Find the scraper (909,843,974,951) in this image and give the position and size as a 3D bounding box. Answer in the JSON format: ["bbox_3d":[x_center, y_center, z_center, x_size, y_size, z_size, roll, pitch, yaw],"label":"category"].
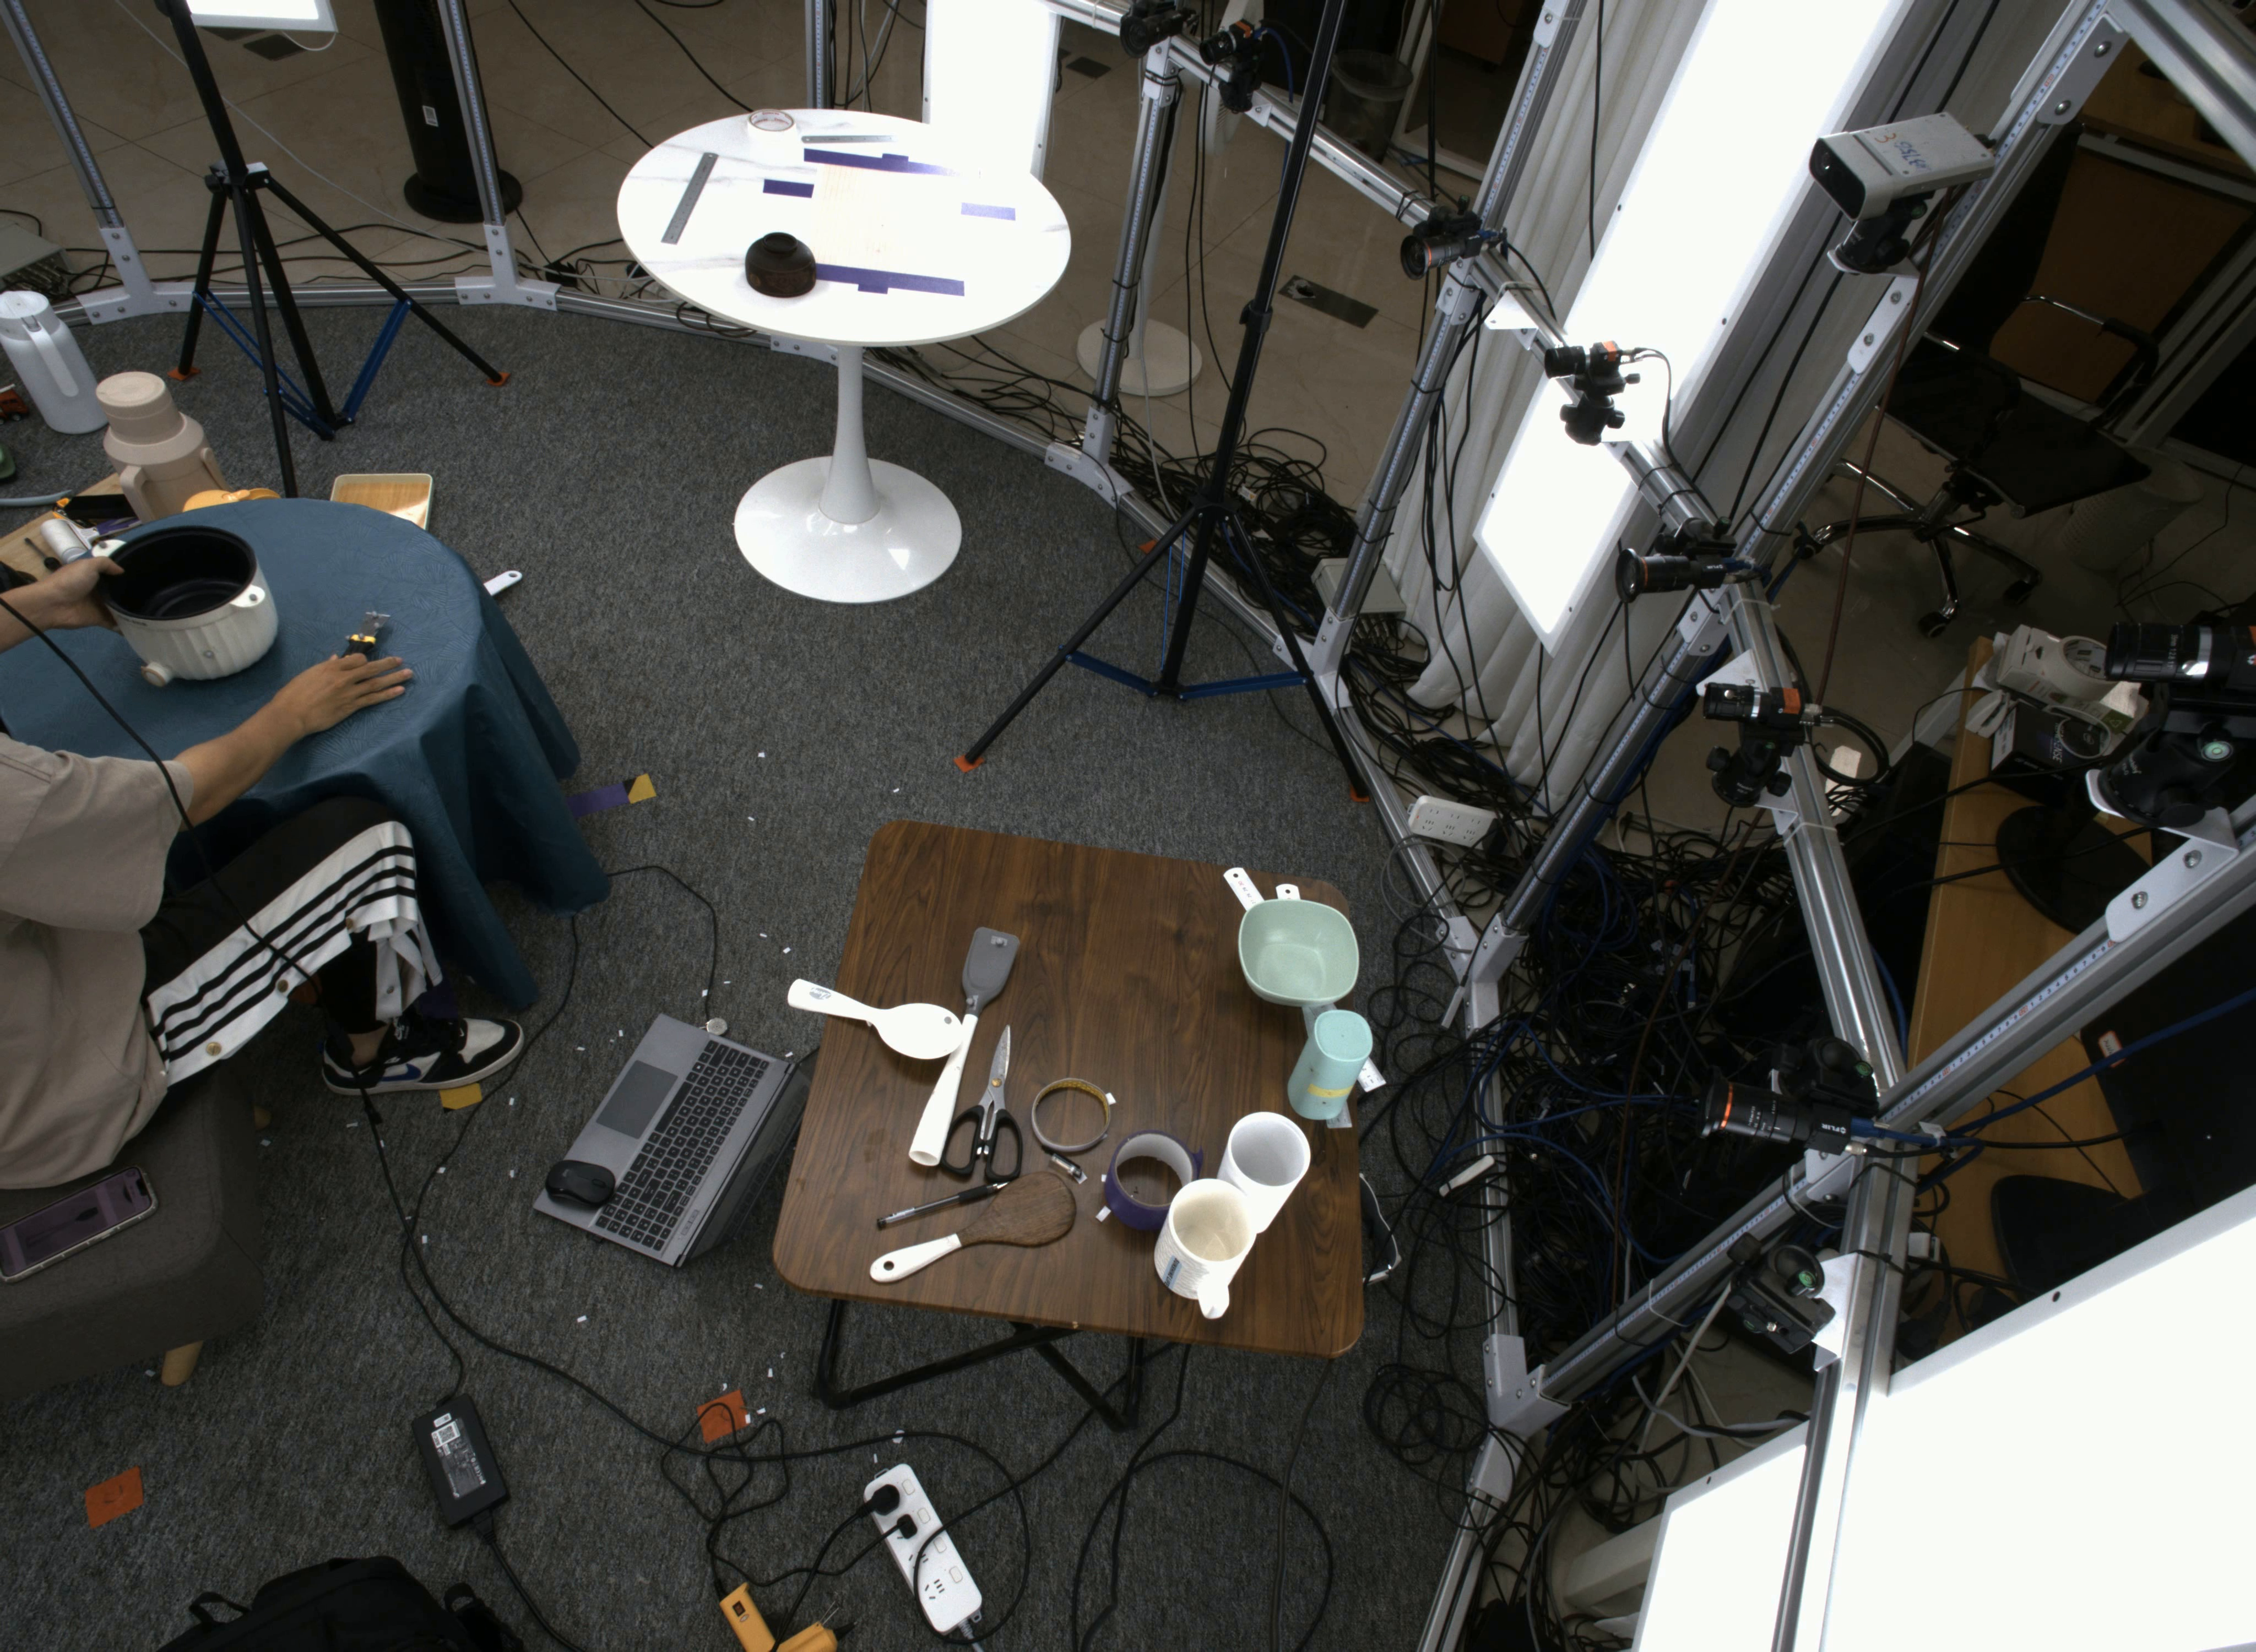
[{"bbox_3d":[-0.243,0.090,1.682,0.038,0.015,0.169,21,51,-3],"label":"scraper"}]

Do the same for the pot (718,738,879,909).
[{"bbox_3d":[-0.419,0.006,1.643,0.236,0.146,0.190,29,49,11],"label":"pot"}]
